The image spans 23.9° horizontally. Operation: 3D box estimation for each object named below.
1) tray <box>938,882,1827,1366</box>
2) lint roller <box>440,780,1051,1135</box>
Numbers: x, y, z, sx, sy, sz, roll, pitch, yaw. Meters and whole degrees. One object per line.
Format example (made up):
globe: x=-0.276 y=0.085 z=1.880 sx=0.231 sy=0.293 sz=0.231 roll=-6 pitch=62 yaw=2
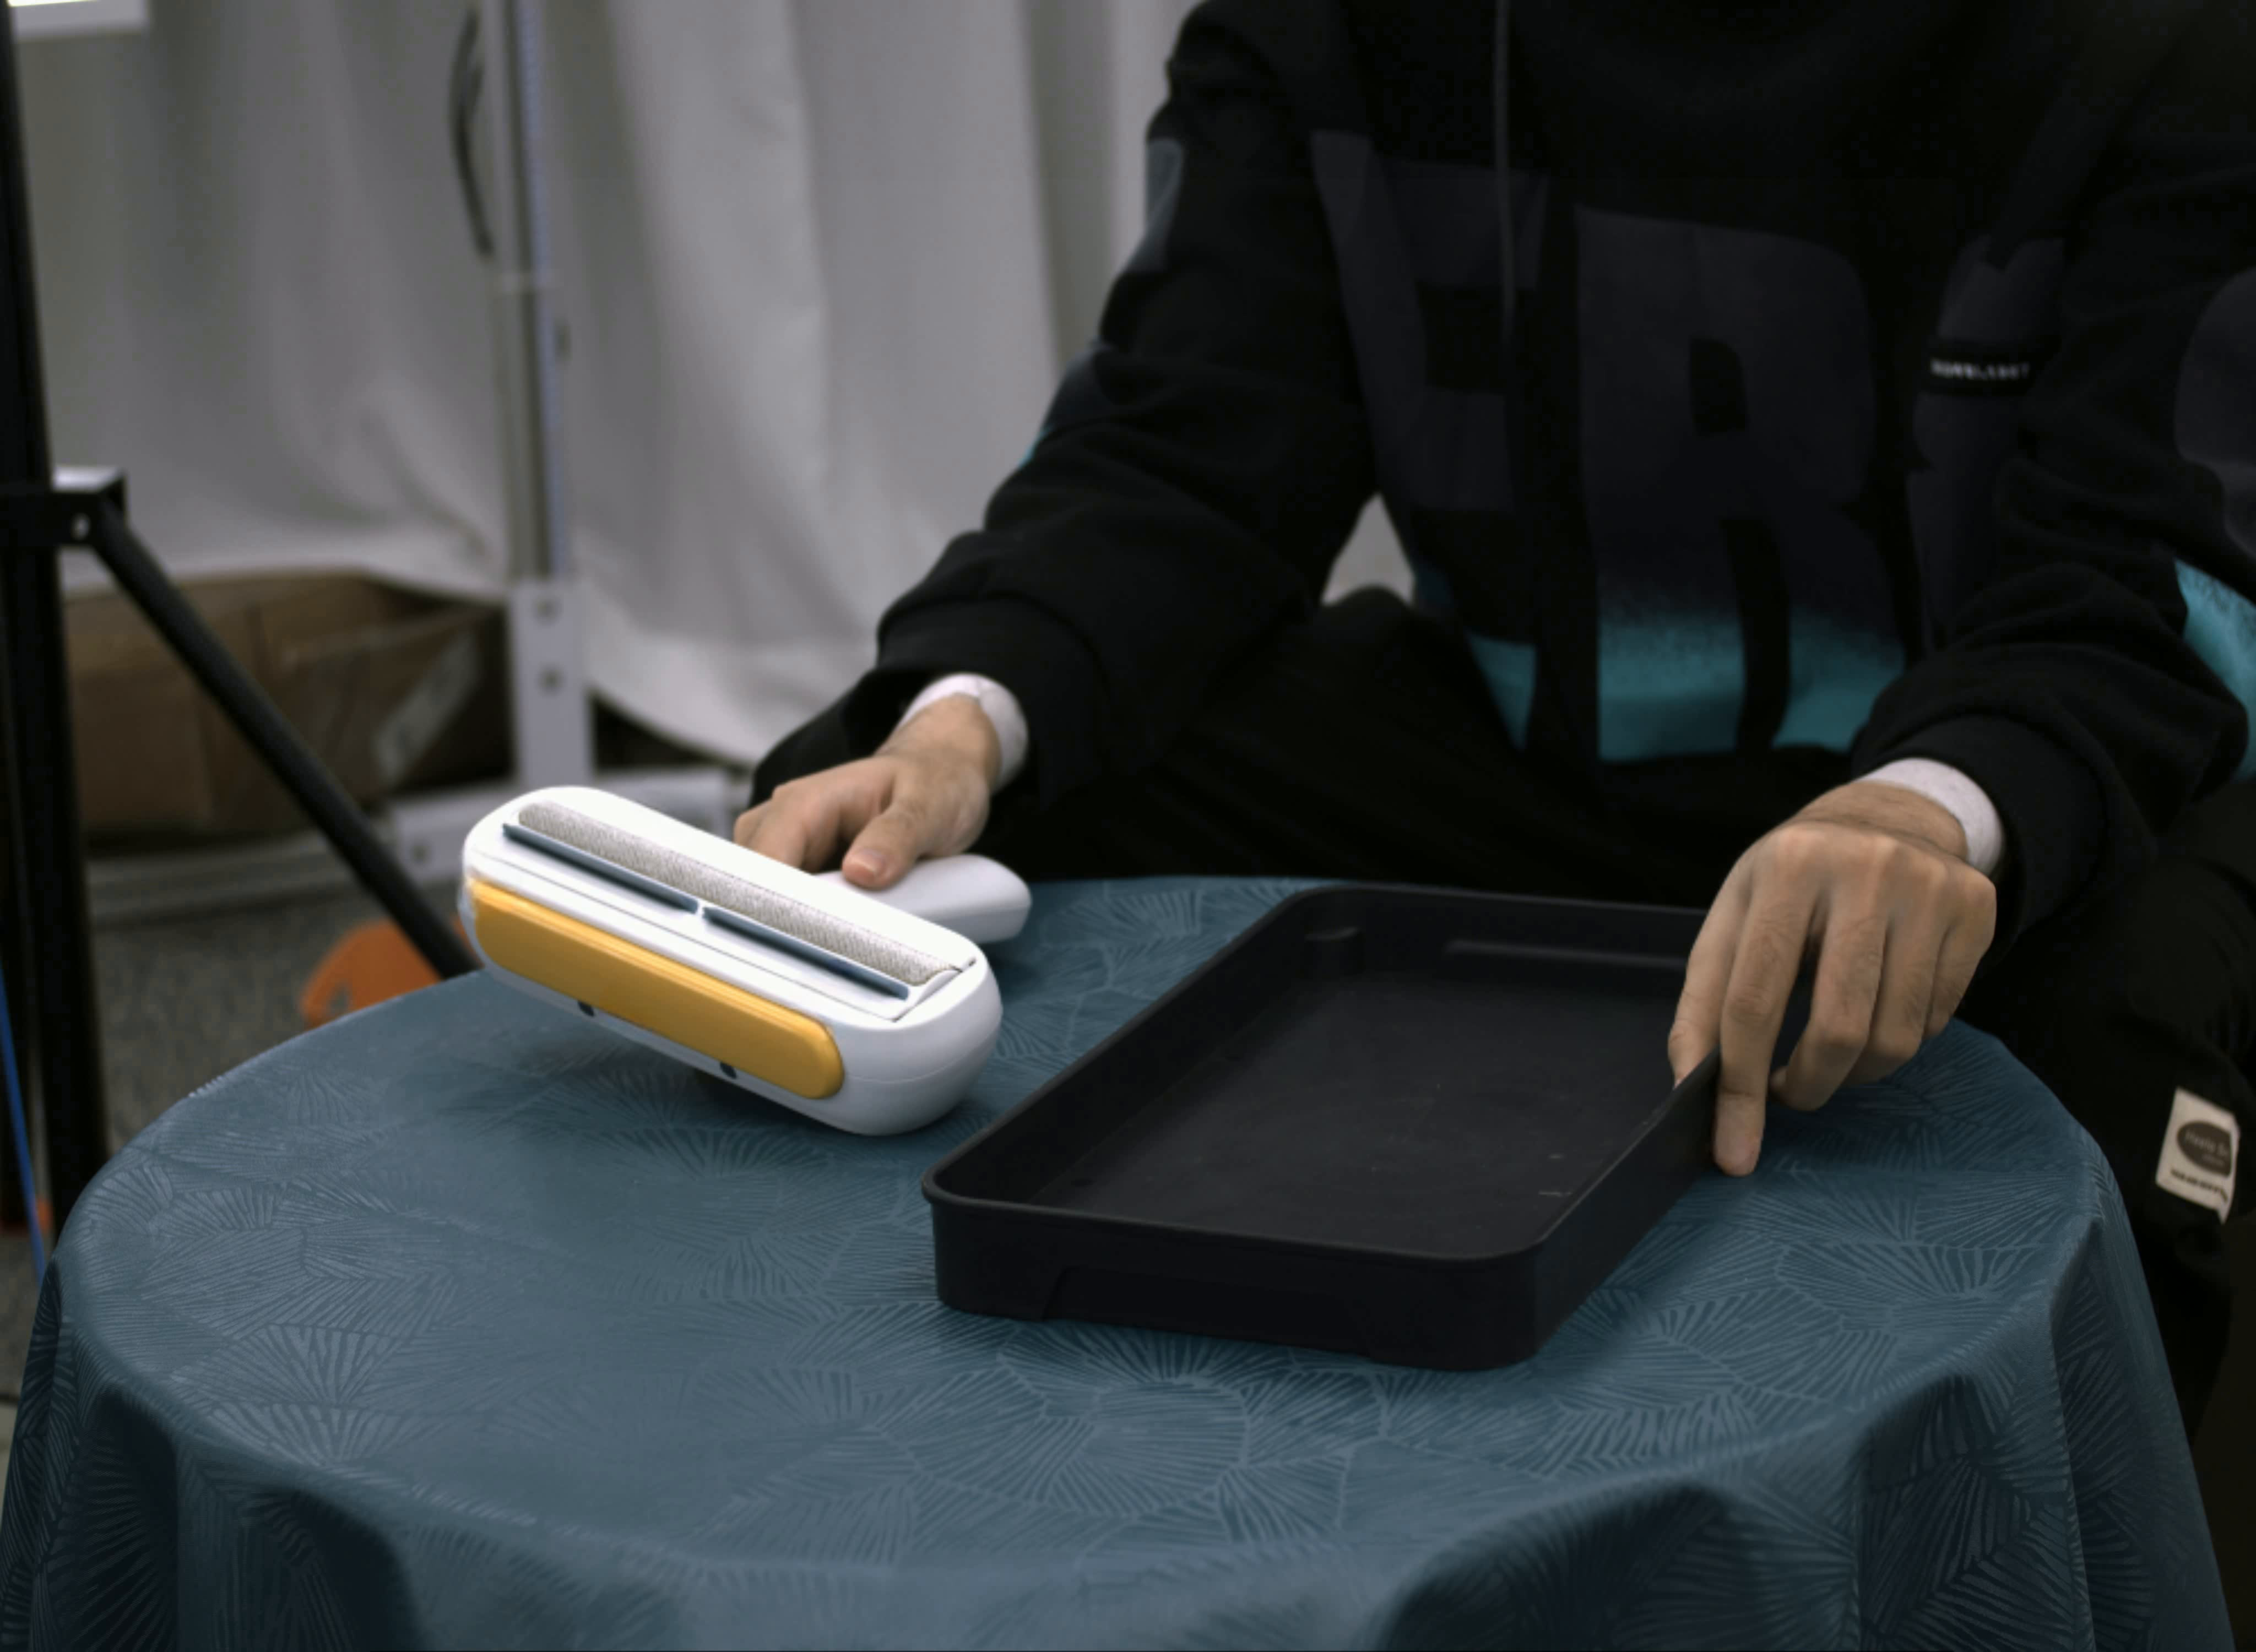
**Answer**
tray: x=0.084 y=0.081 z=1.571 sx=0.187 sy=0.037 sz=0.314 roll=4 pitch=17 yaw=22
lint roller: x=-0.096 y=0.030 z=1.712 sx=0.197 sy=0.074 sz=0.188 roll=18 pitch=28 yaw=36
